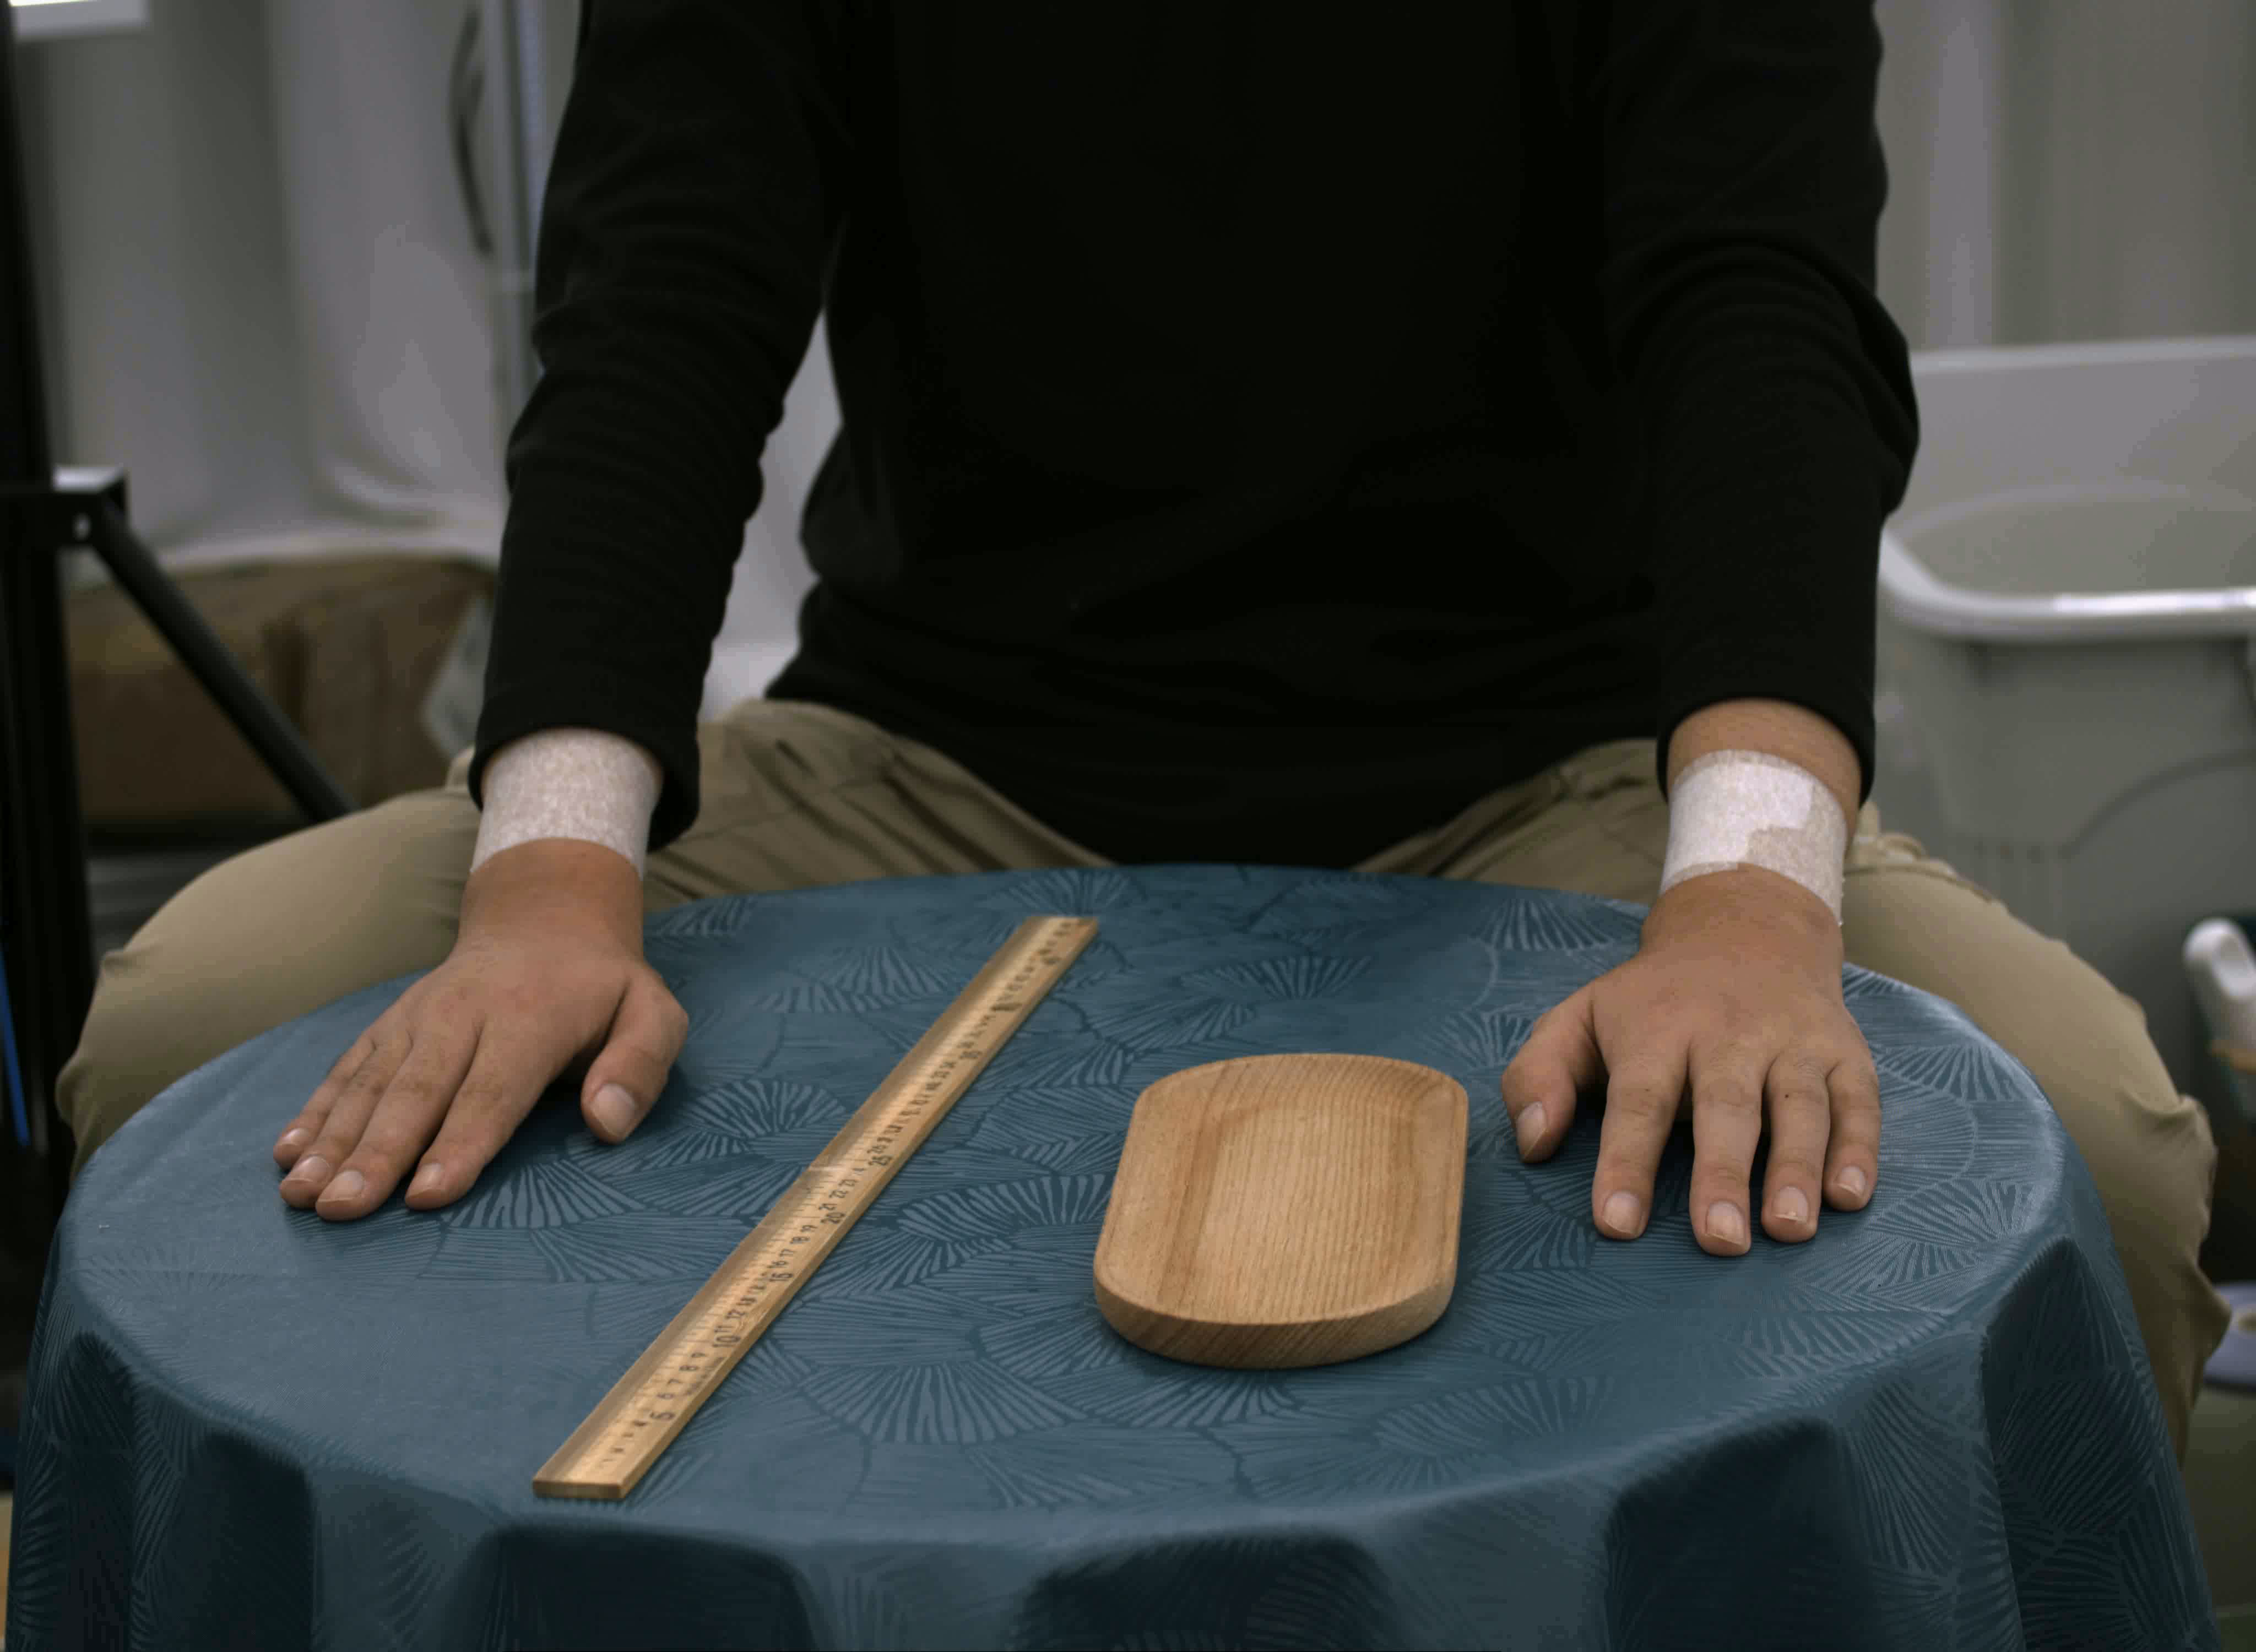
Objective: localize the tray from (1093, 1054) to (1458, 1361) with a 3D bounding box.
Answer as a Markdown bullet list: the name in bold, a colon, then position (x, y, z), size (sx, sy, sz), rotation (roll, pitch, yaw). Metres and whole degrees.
- **tray**: position (0.044, 0.107, 1.523), size (0.101, 0.020, 0.231), rotation (0, 14, 3)

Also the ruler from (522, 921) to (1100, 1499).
- **ruler**: position (-0.081, 0.102, 1.583), size (0.027, 0.006, 0.496), rotation (3, 17, 14)
